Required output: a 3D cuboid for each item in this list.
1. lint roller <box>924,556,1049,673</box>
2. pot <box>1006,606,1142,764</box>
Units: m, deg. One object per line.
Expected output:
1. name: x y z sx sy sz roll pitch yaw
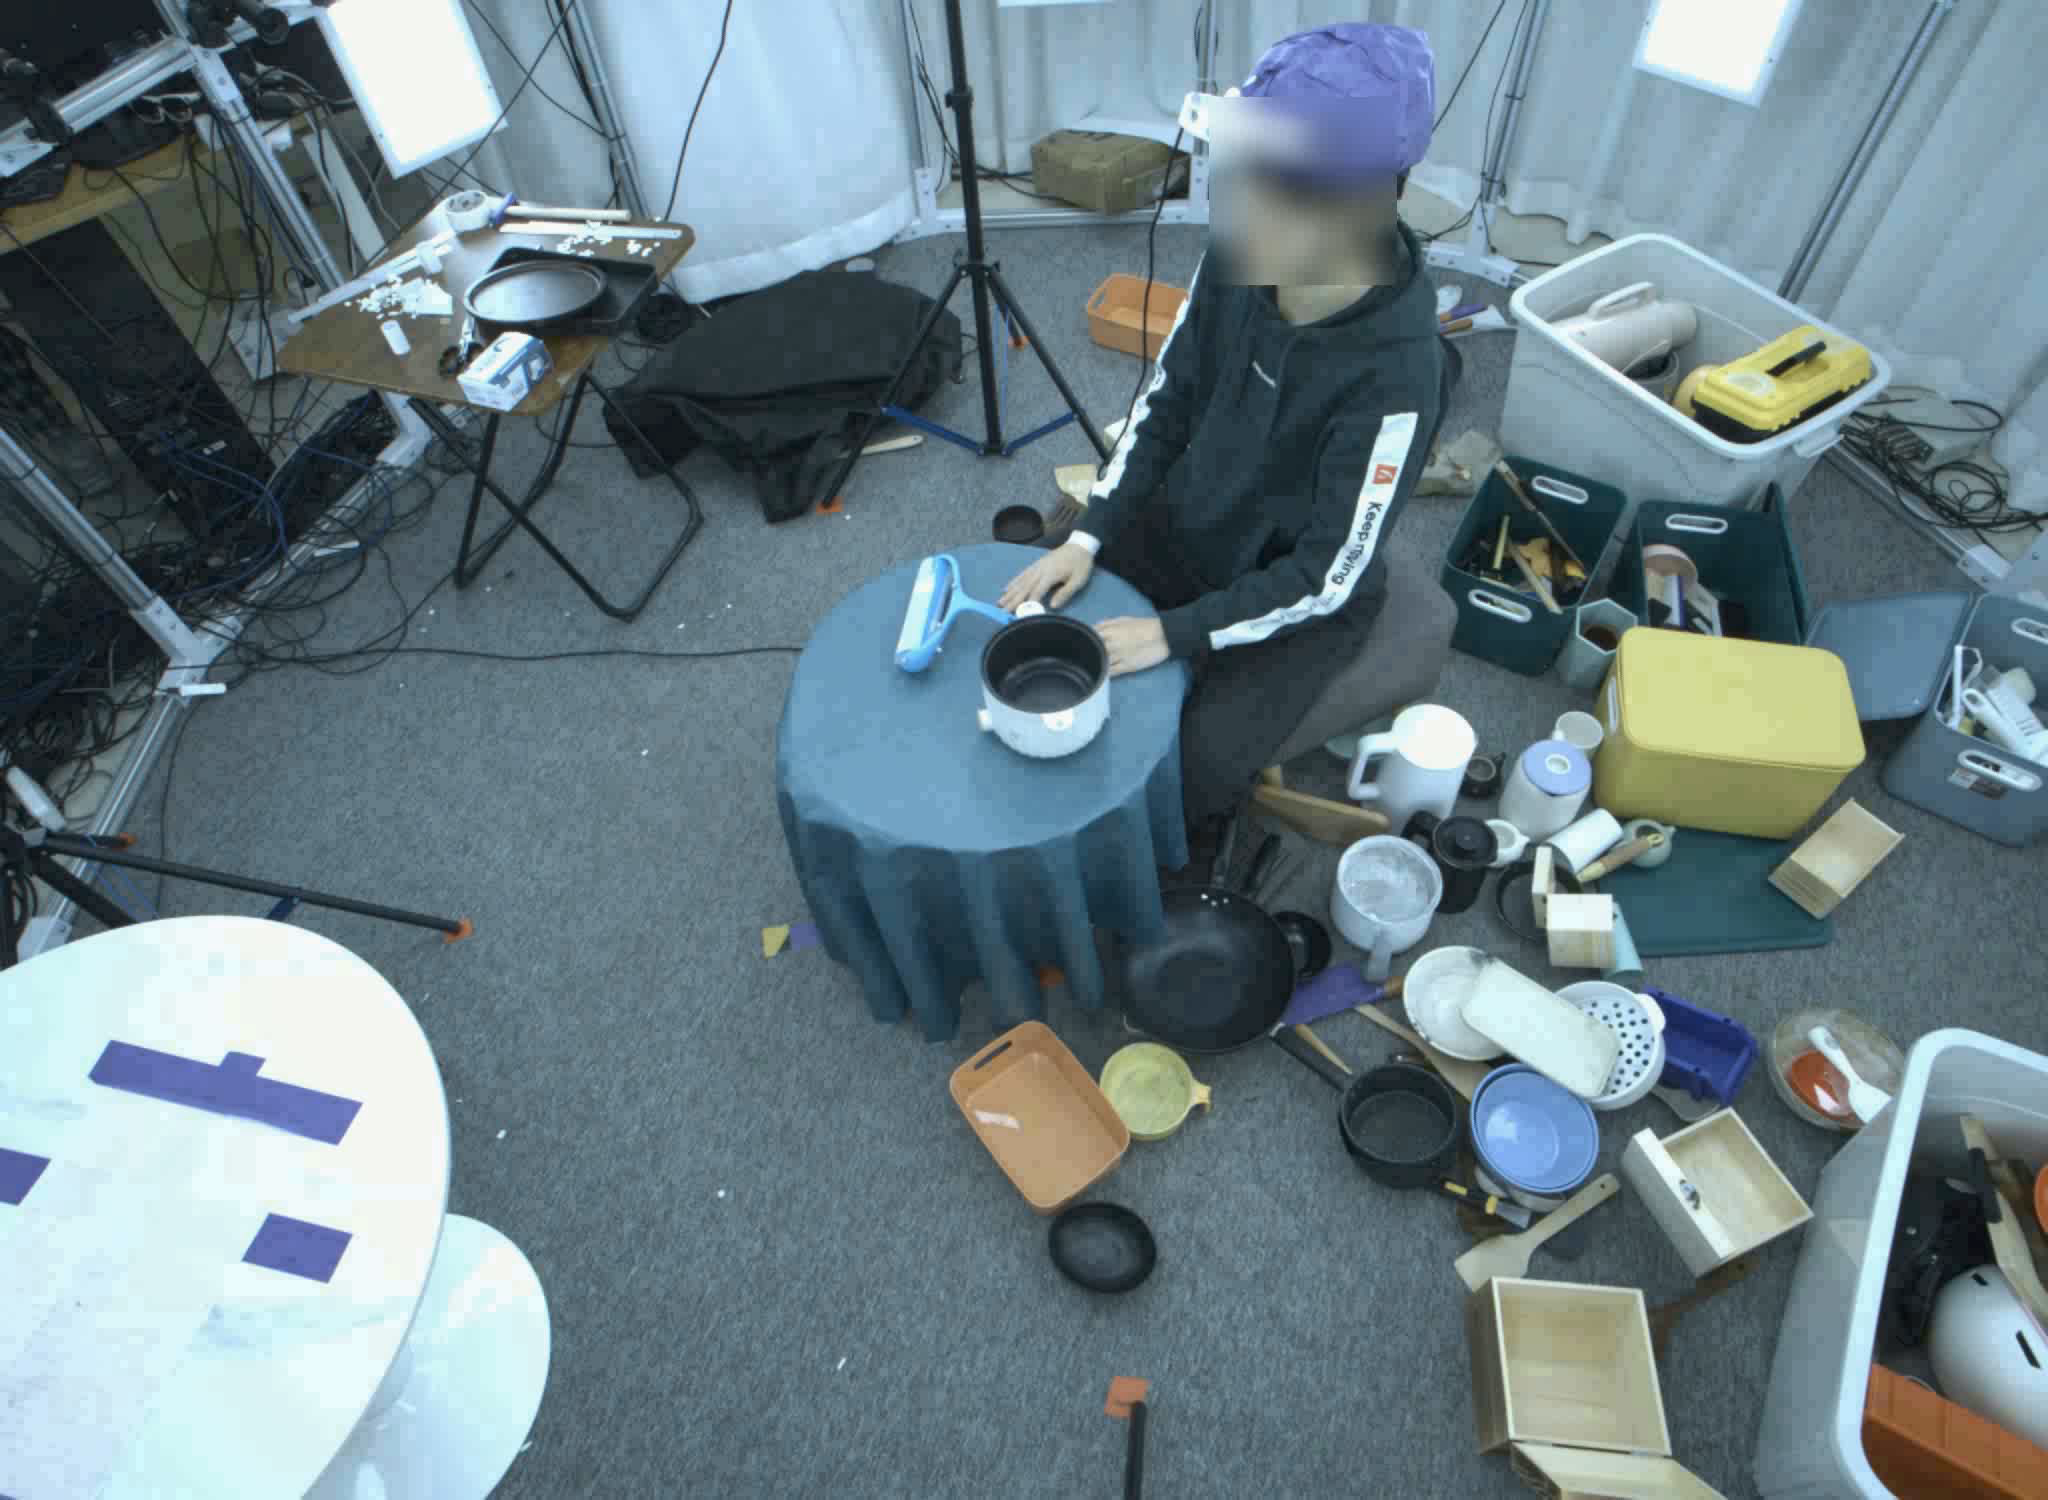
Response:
1. lint roller: -0.050 -0.209 1.898 0.179 0.069 0.227 3 52 7
2. pot: 0.070 -0.074 1.748 0.191 0.144 0.237 -8 53 -7
